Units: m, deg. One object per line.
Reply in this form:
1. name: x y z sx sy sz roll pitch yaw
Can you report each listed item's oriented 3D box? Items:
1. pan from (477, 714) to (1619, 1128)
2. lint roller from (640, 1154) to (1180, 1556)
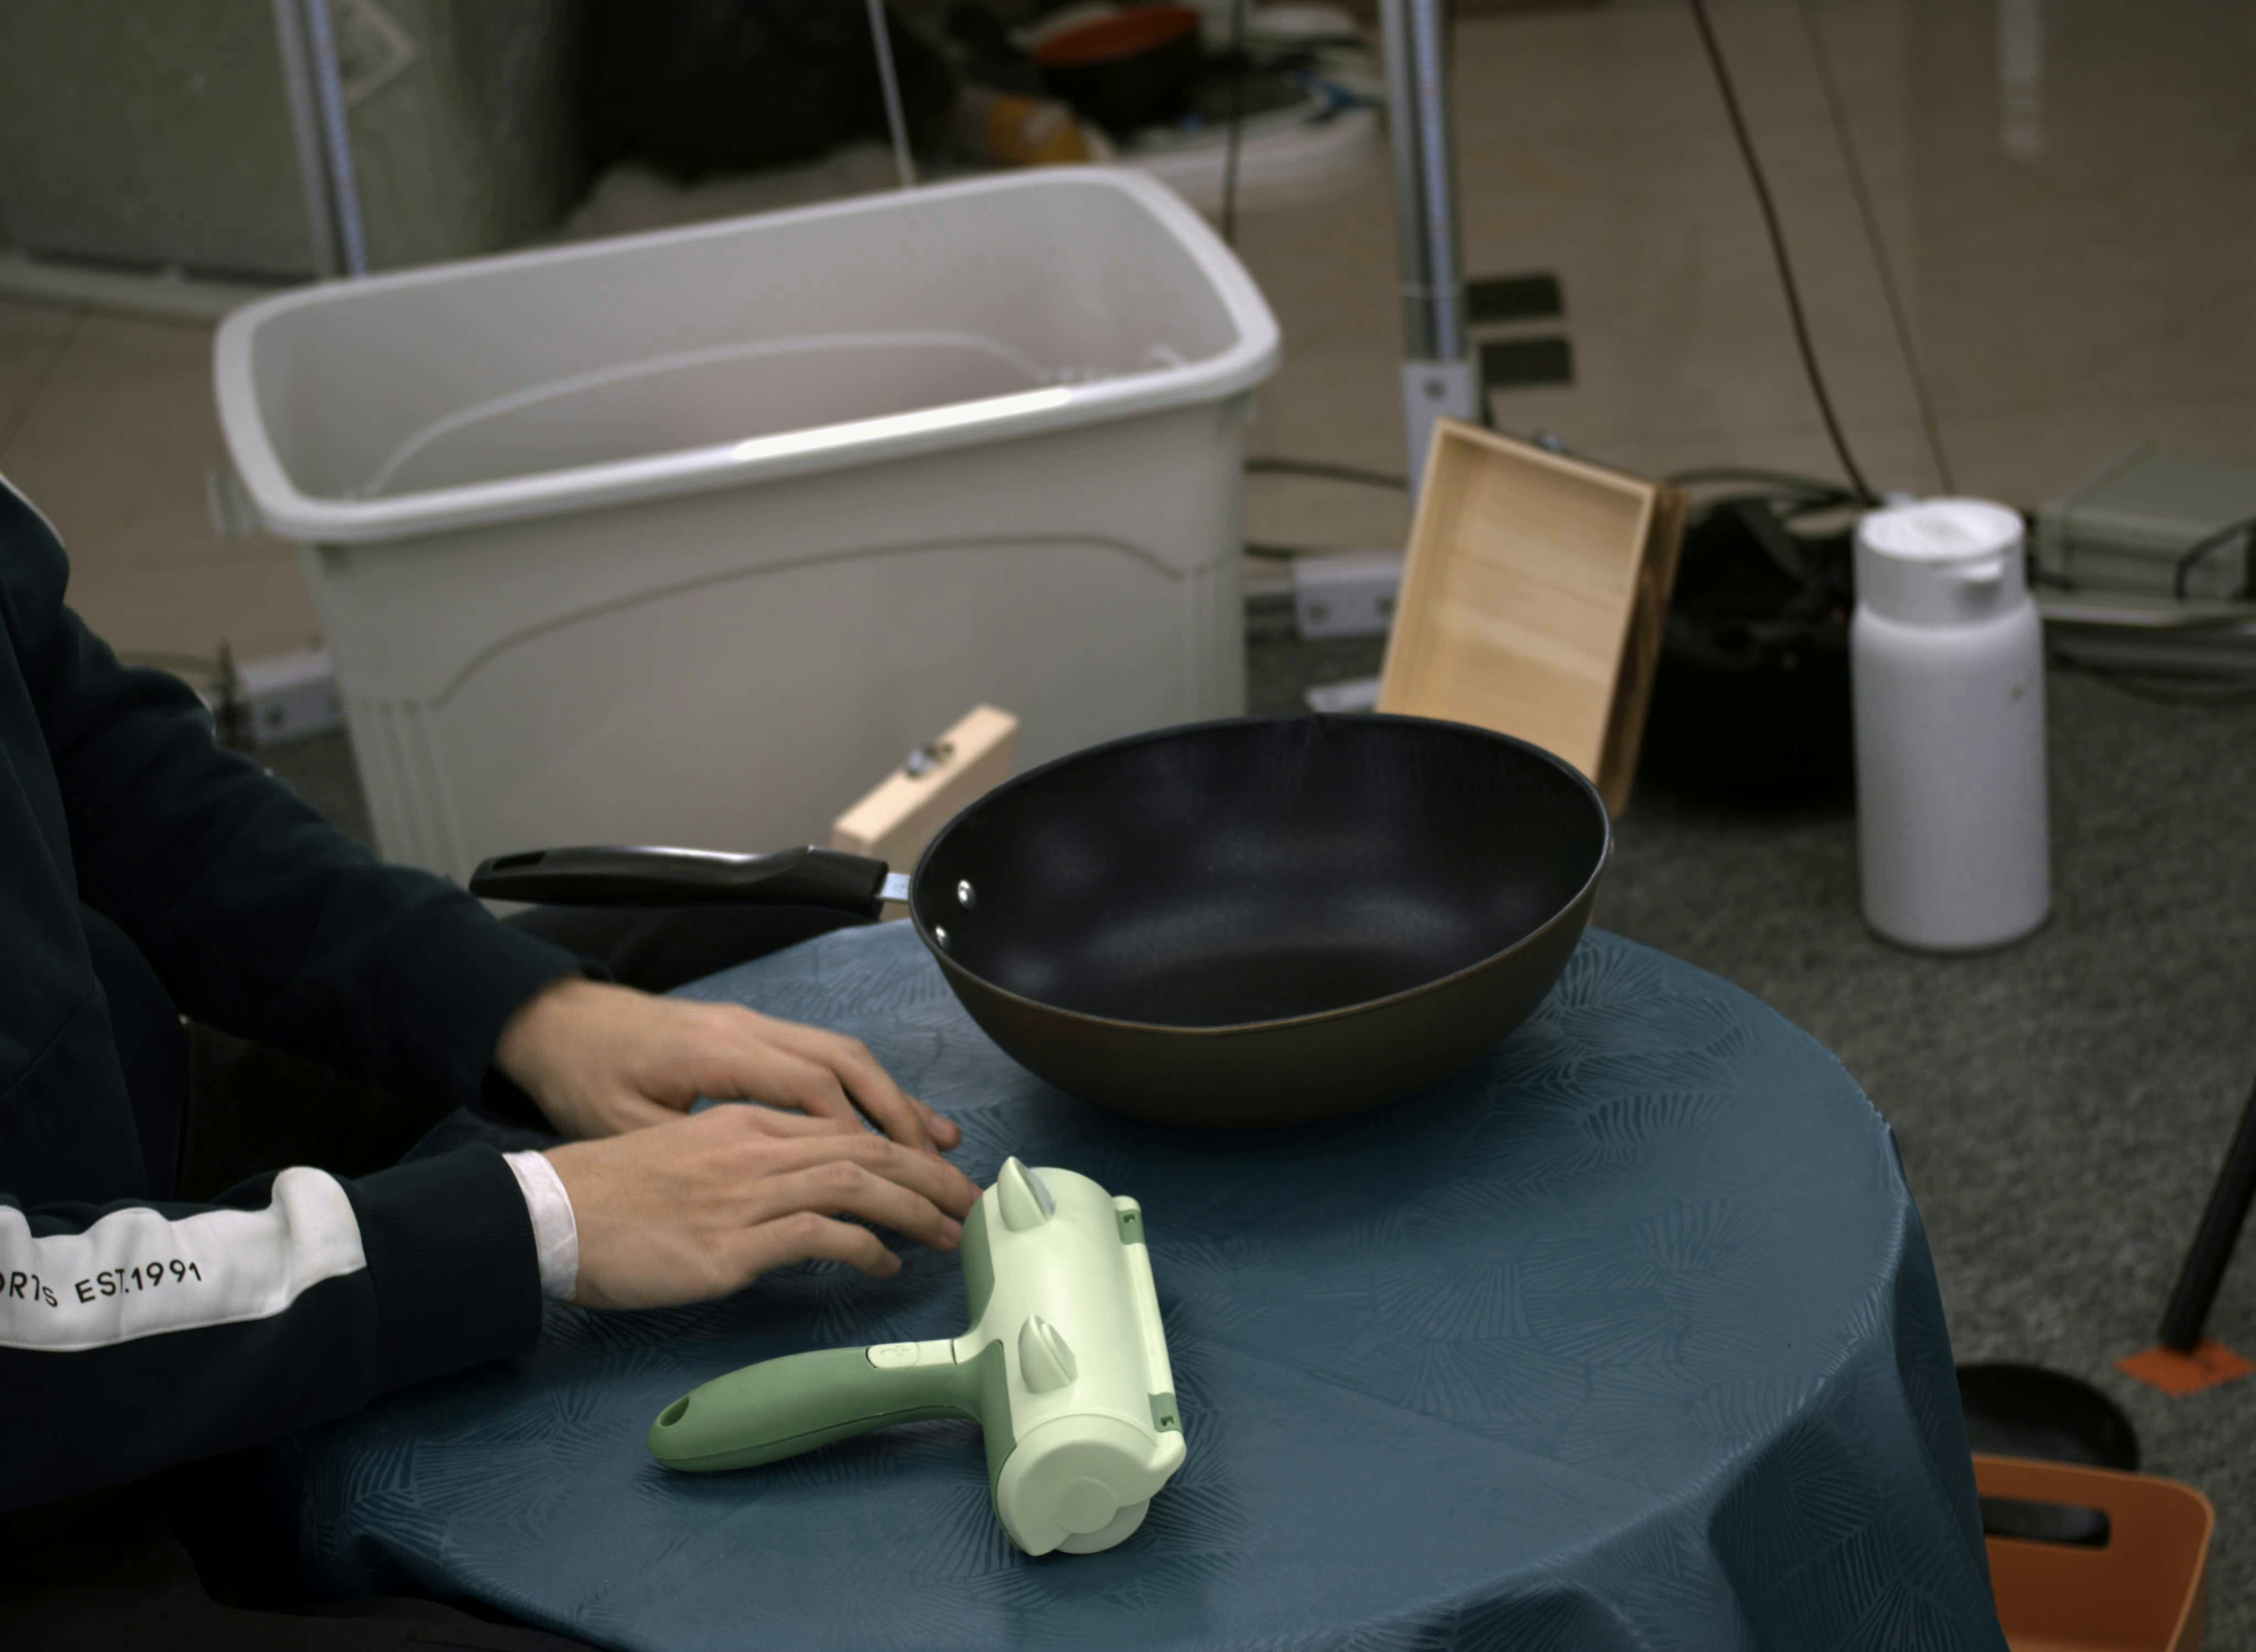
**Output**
1. pan: -0.033 0.049 2.245 0.462 0.088 0.284 -2 25 12
2. lint roller: -0.080 0.181 1.983 0.183 0.083 0.195 -2 25 -4
